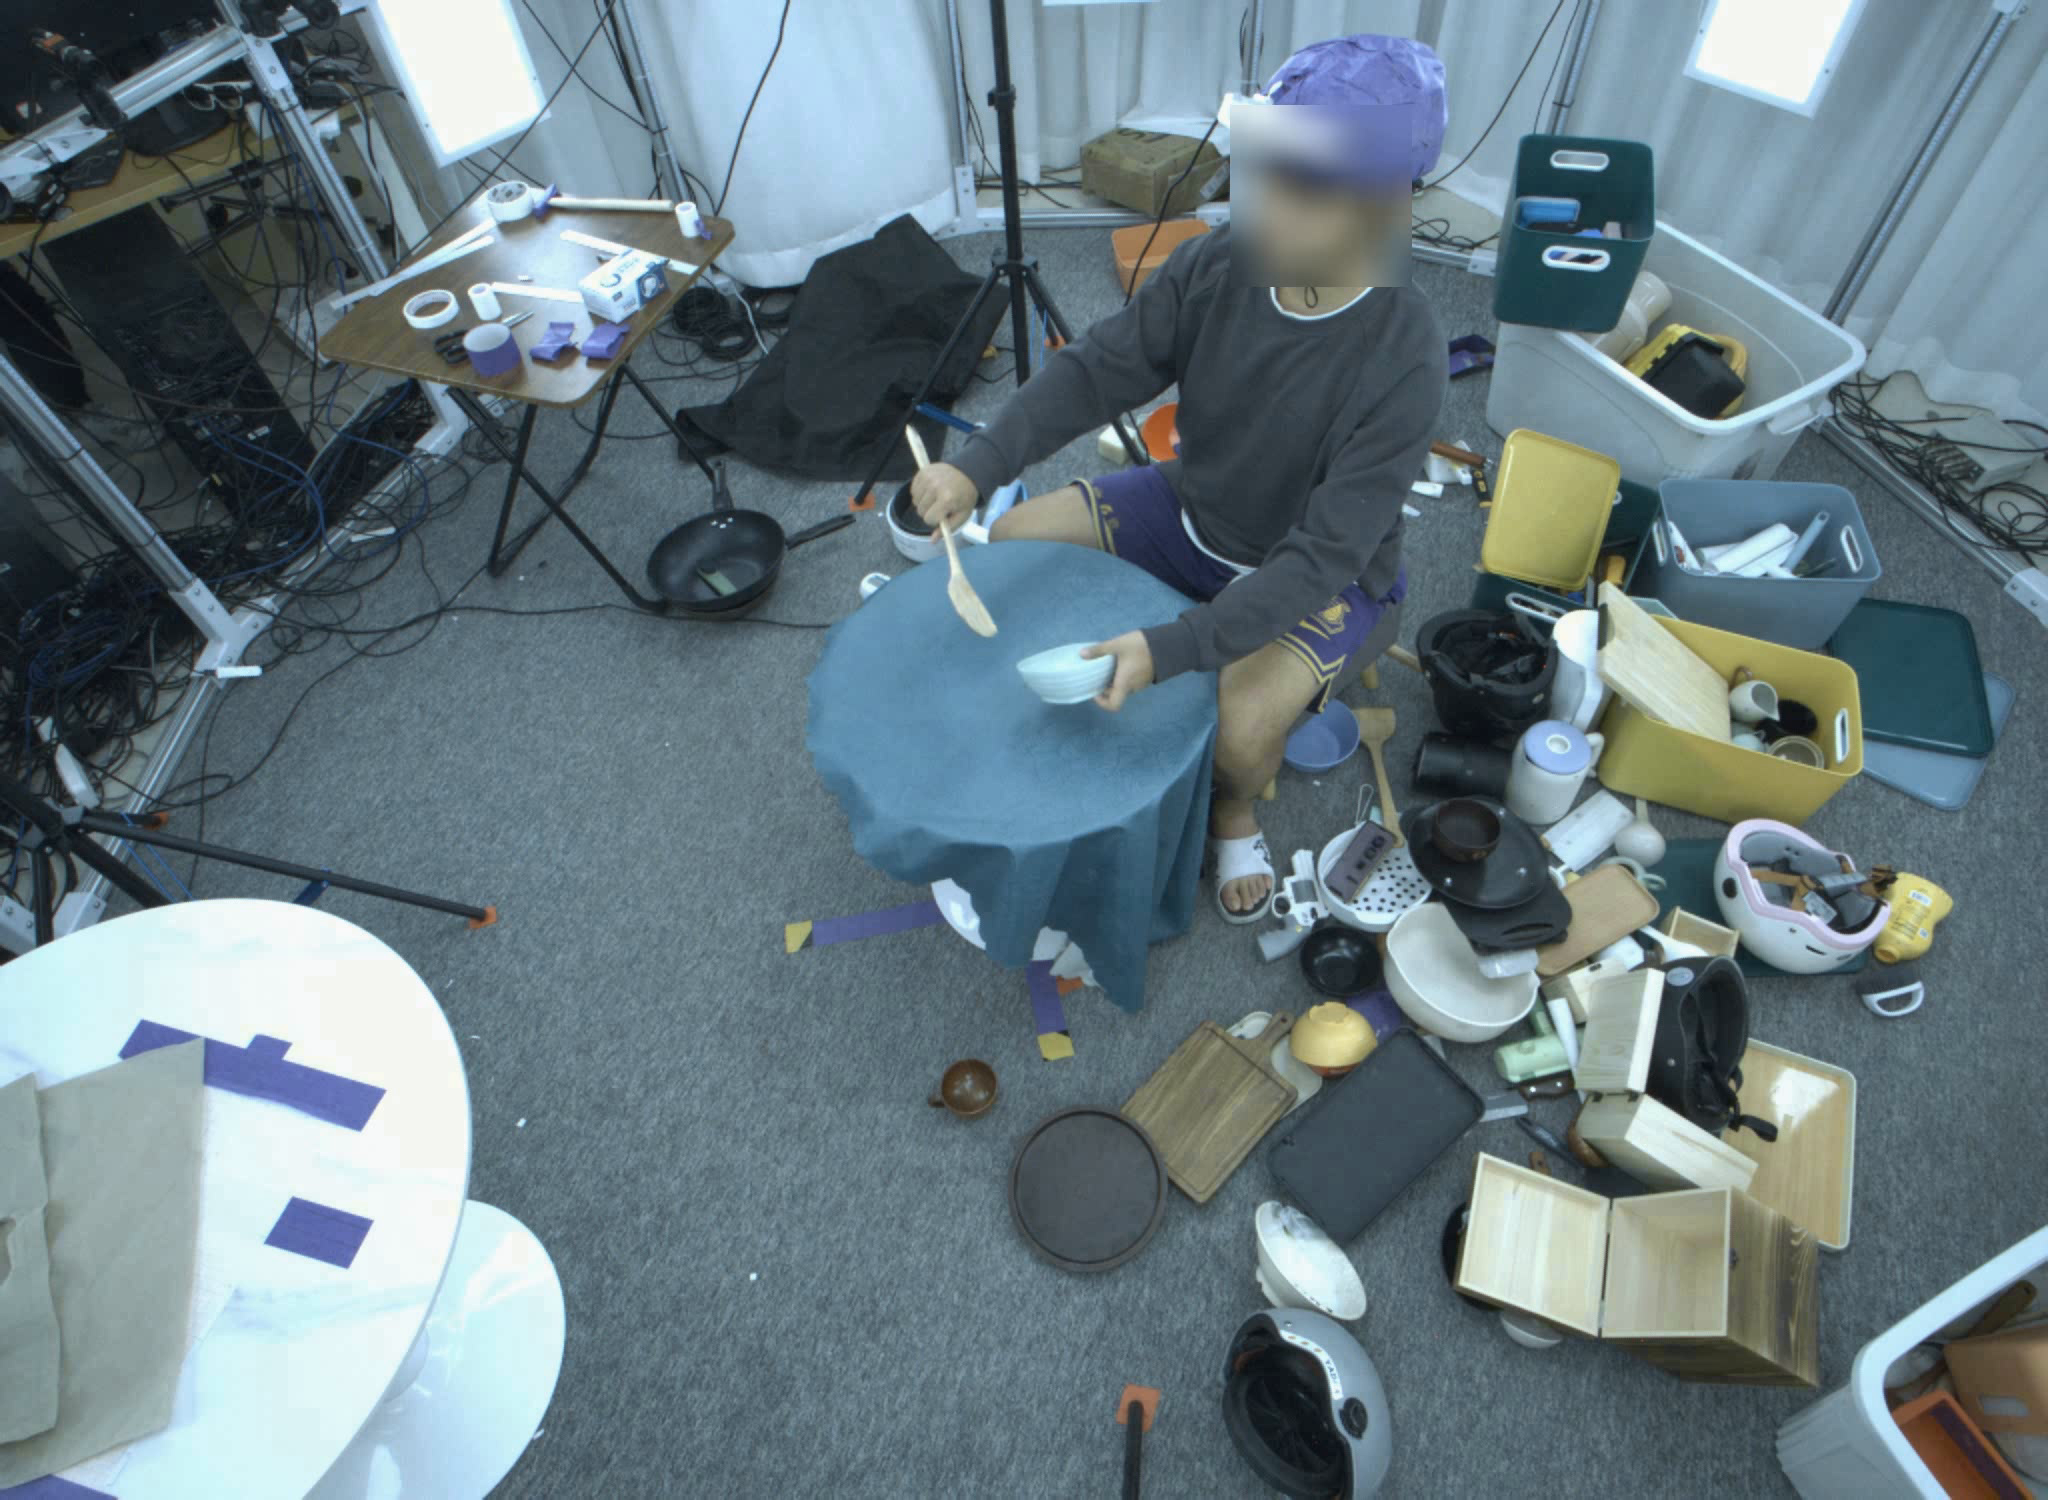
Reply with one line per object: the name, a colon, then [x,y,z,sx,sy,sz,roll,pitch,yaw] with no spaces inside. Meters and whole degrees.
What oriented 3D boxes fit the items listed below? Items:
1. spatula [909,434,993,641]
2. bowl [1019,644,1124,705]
spatula: [-0.119,-0.319,1.753,0.018,0.098,0.385,-26,64,18]
bowl: [0.071,-0.105,1.755,0.151,0.059,0.150,-10,16,4]
